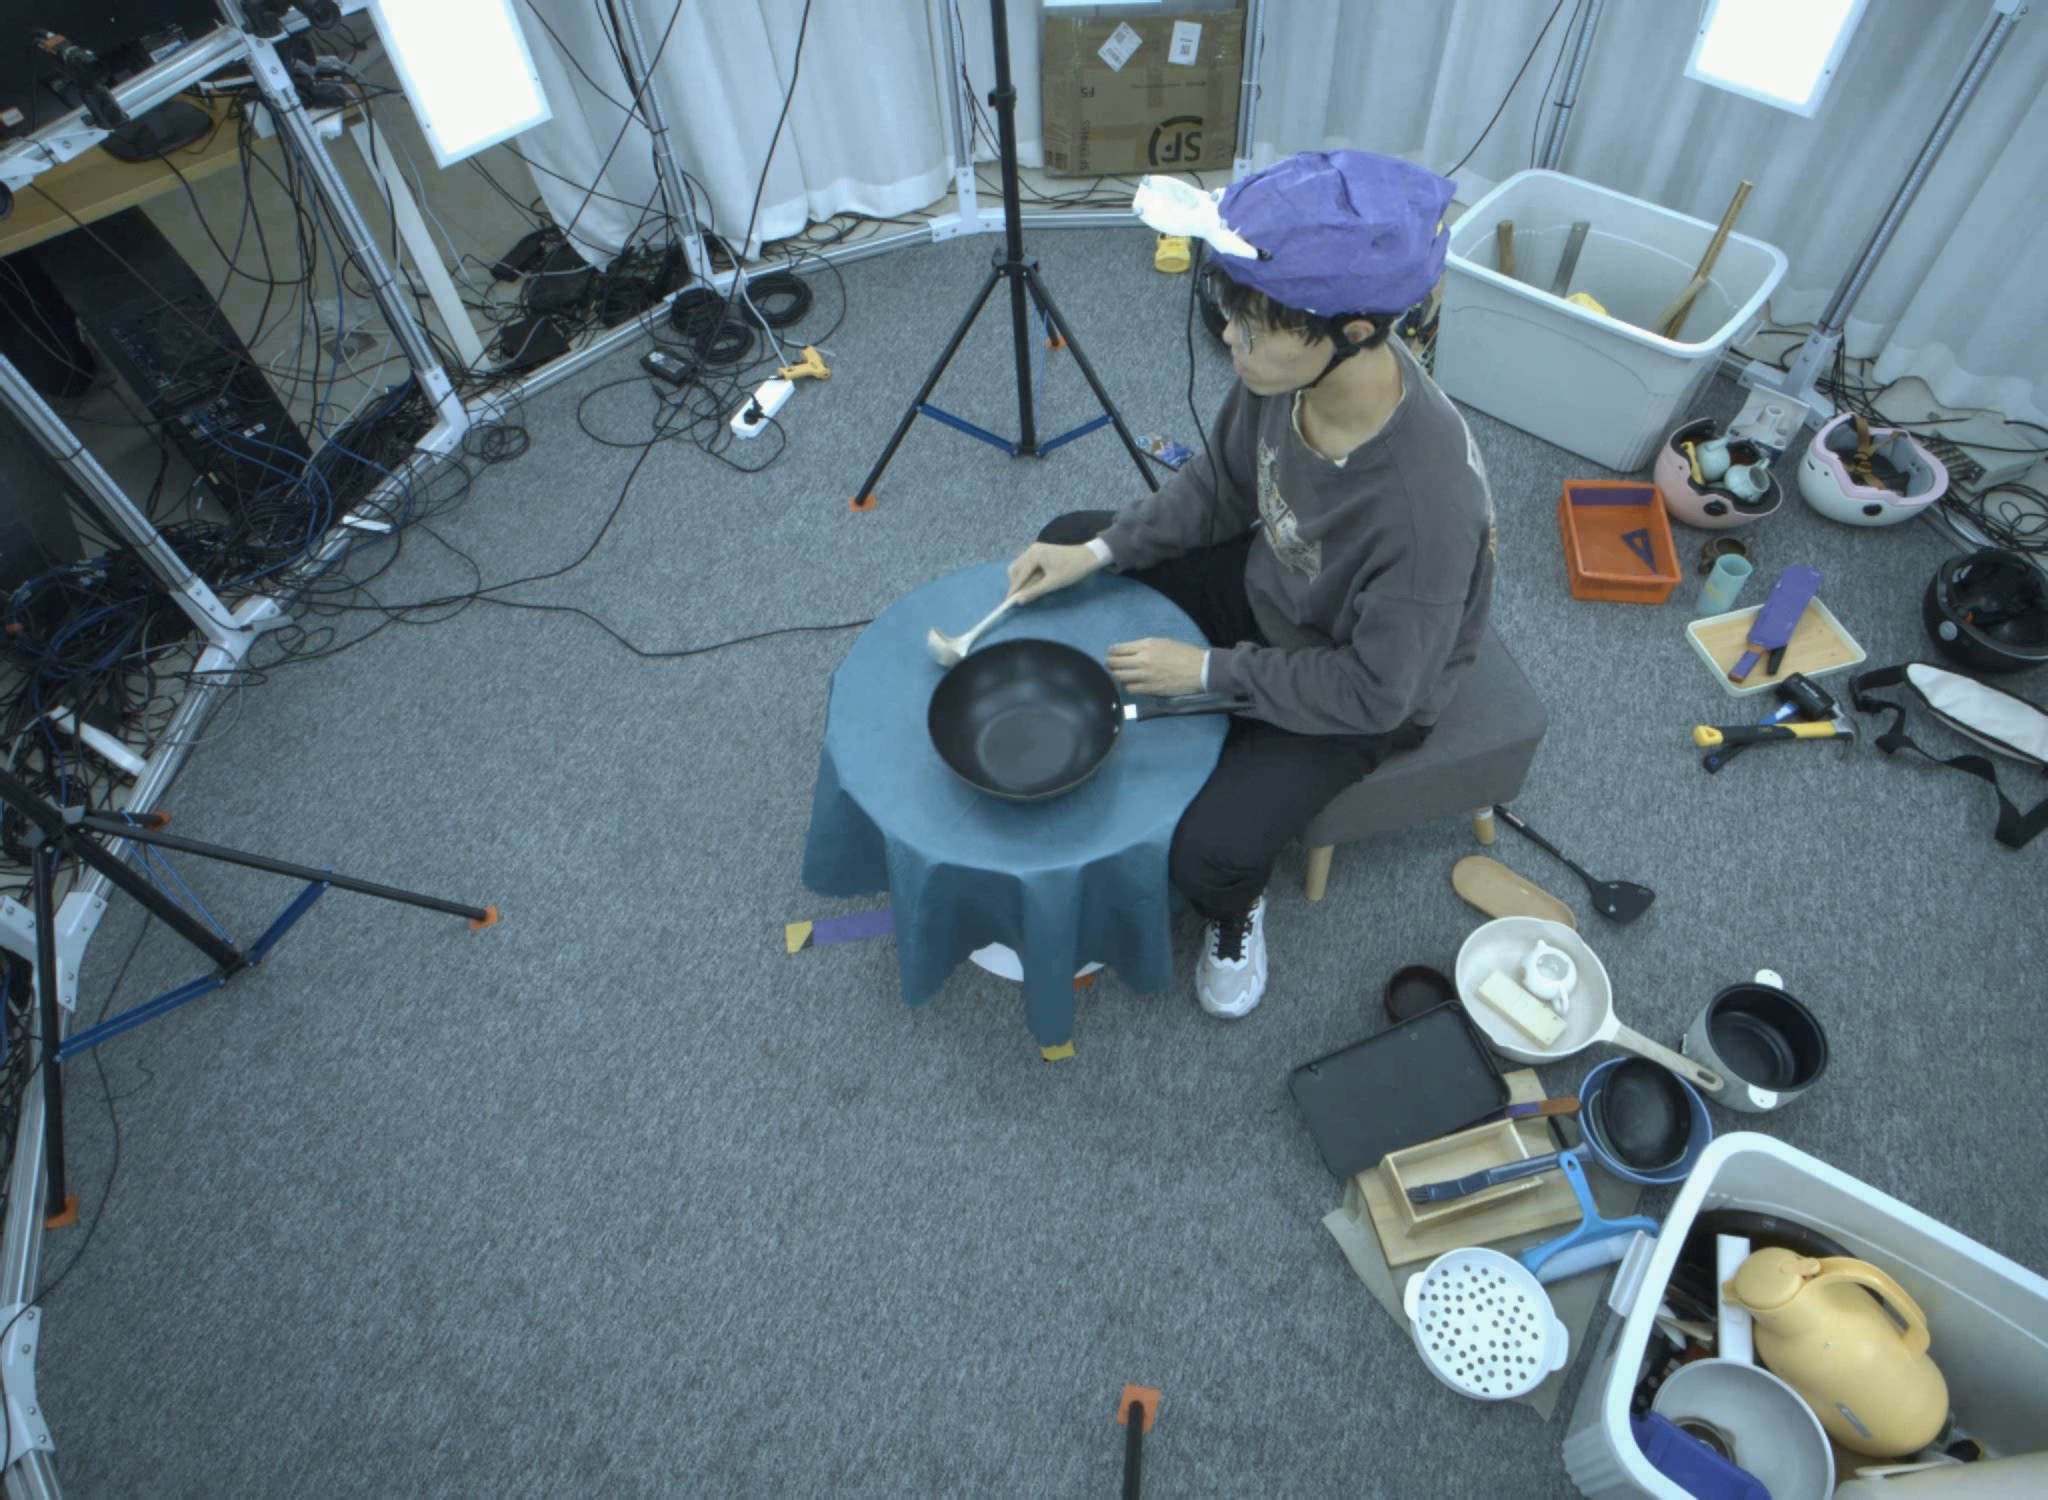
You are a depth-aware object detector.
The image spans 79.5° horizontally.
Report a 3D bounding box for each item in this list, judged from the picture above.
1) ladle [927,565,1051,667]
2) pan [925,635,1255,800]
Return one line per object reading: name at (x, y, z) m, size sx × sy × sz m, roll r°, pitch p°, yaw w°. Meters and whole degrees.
ladle at (-0.047, -0.225, 1.891) m, size 0.071 × 0.073 × 0.255 m, roll 40°, pitch 71°, yaw 17°
pan at (0.094, -0.037, 1.757) m, size 0.464 × 0.088 × 0.285 m, roll -2°, pitch 54°, yaw -1°
